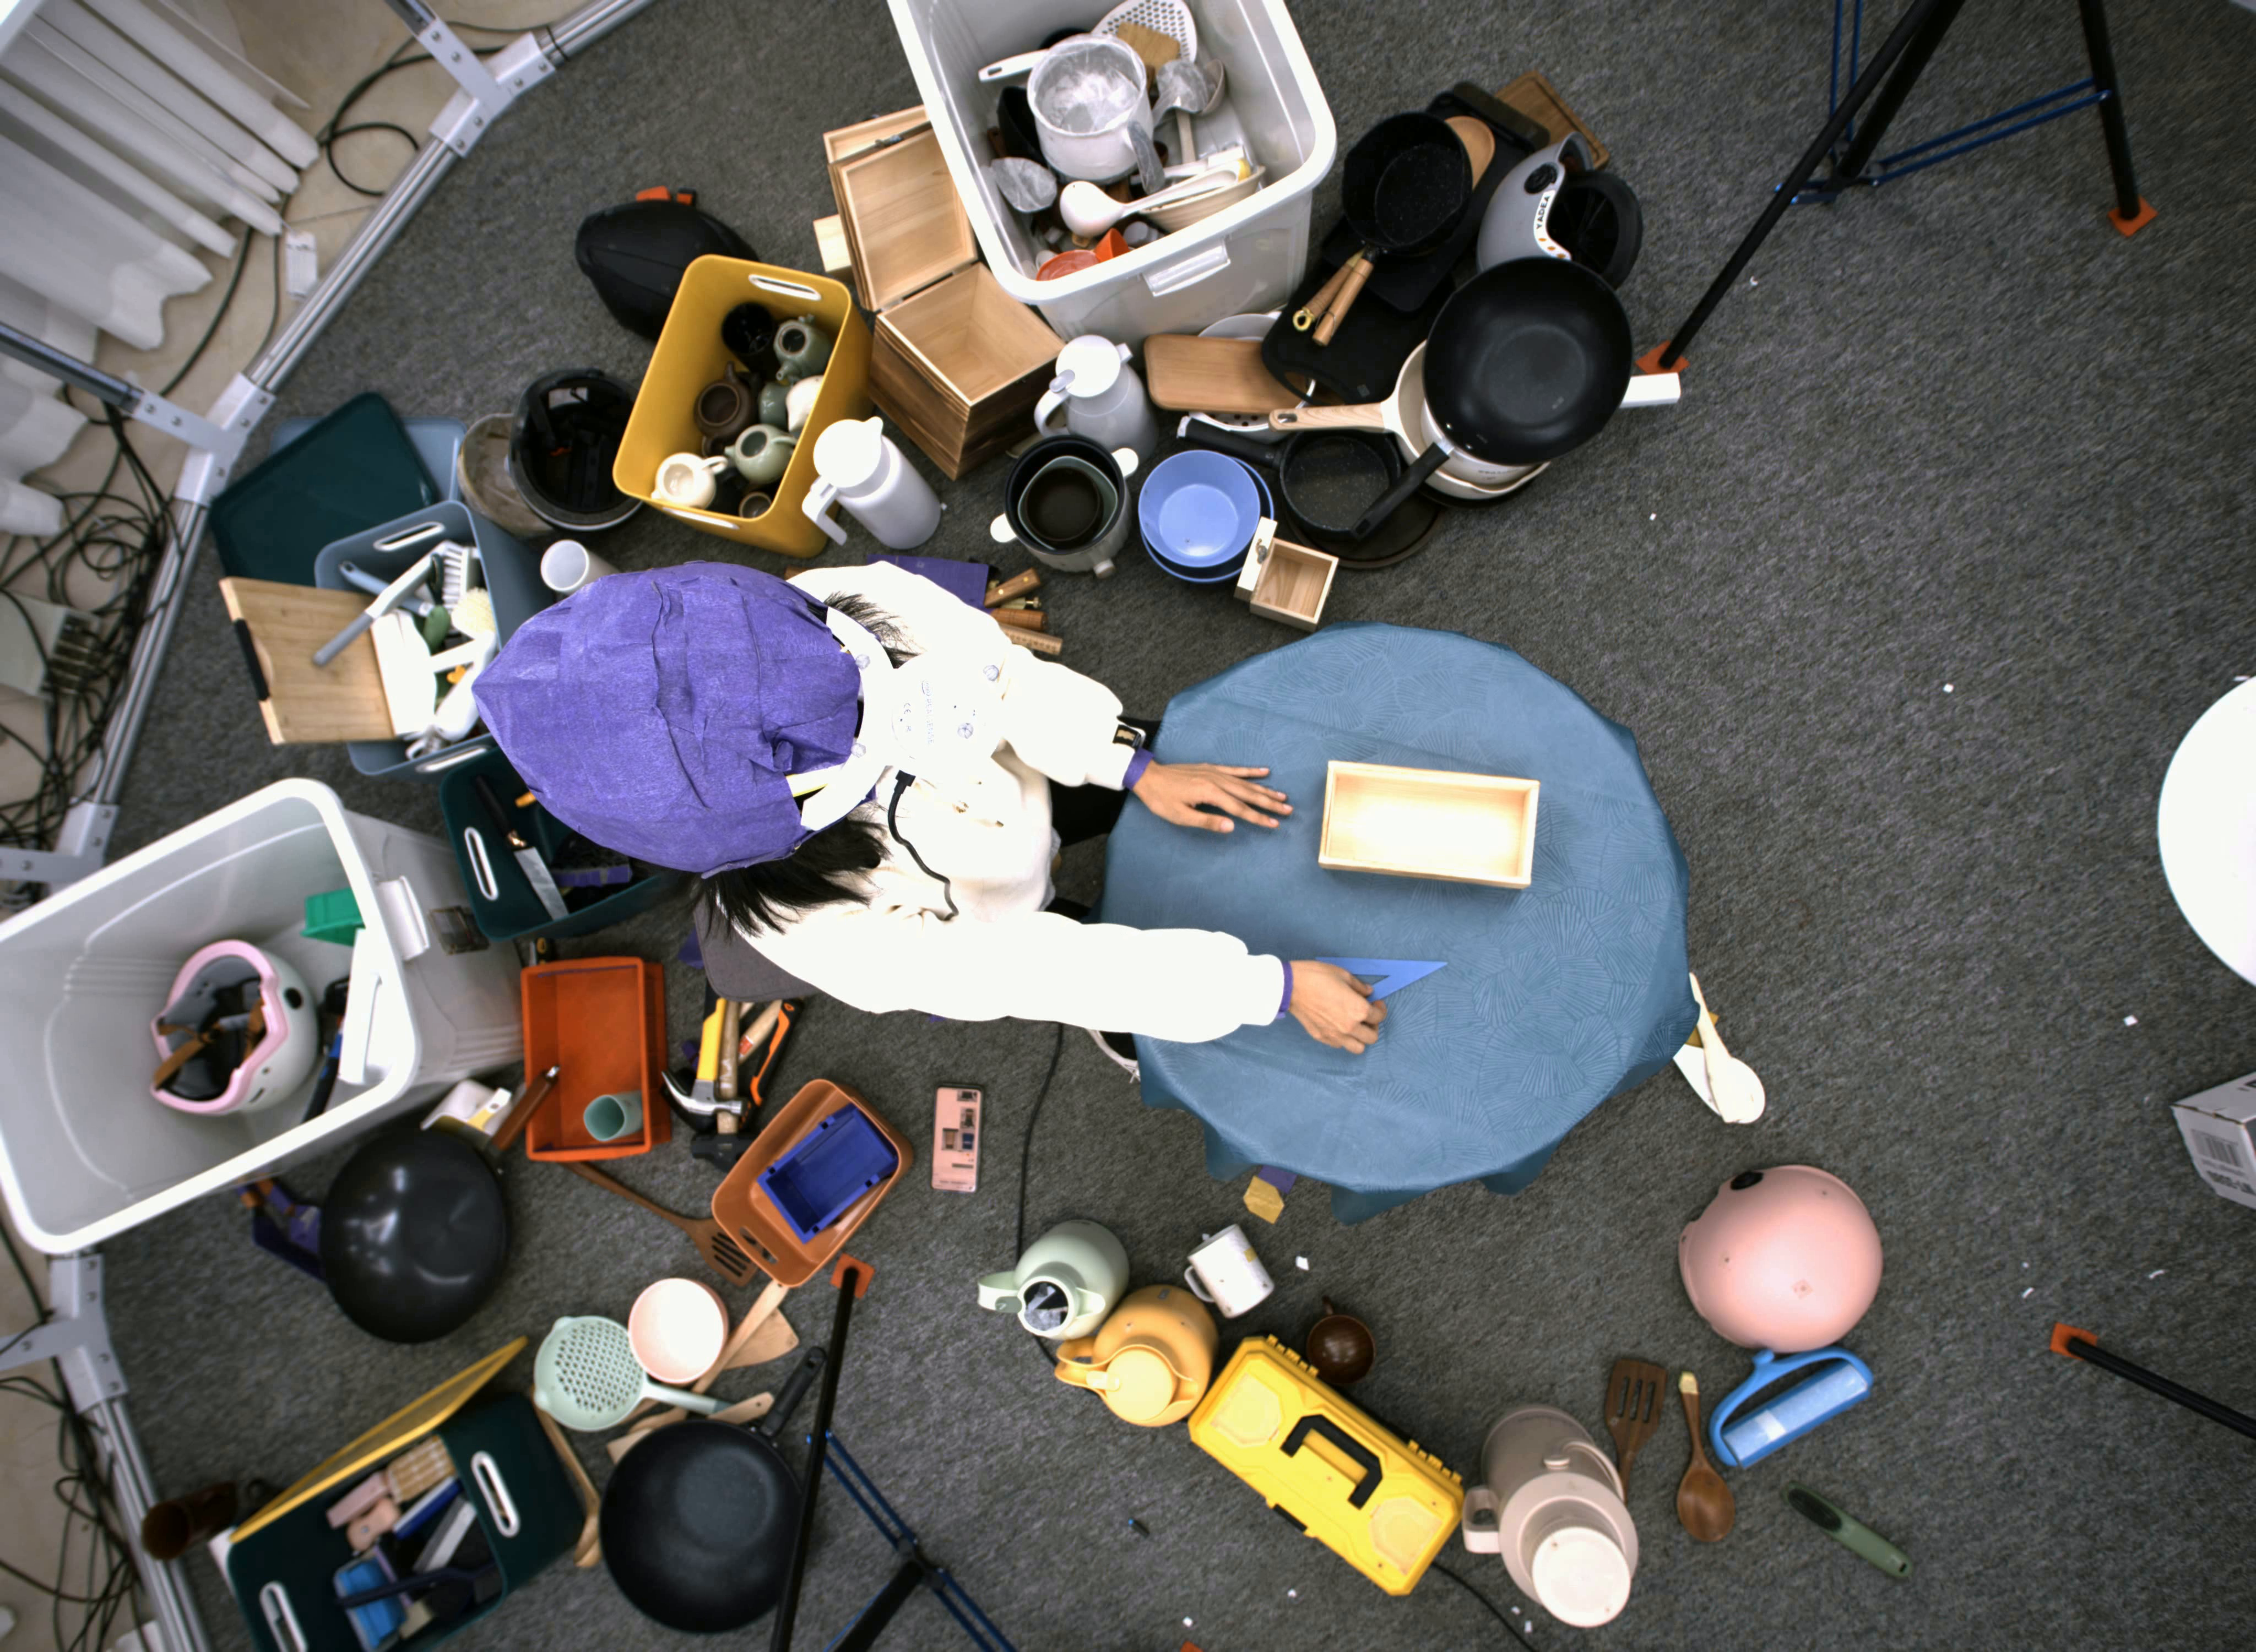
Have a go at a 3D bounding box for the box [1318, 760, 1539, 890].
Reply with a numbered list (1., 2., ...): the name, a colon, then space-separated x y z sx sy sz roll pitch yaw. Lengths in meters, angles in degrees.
1. box: 0.306 -0.002 1.417 0.212 0.080 0.107 5 86 10

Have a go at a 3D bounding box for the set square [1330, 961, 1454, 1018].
1. set square: 0.274 0.175 1.450 0.132 0.006 0.060 6 83 11
